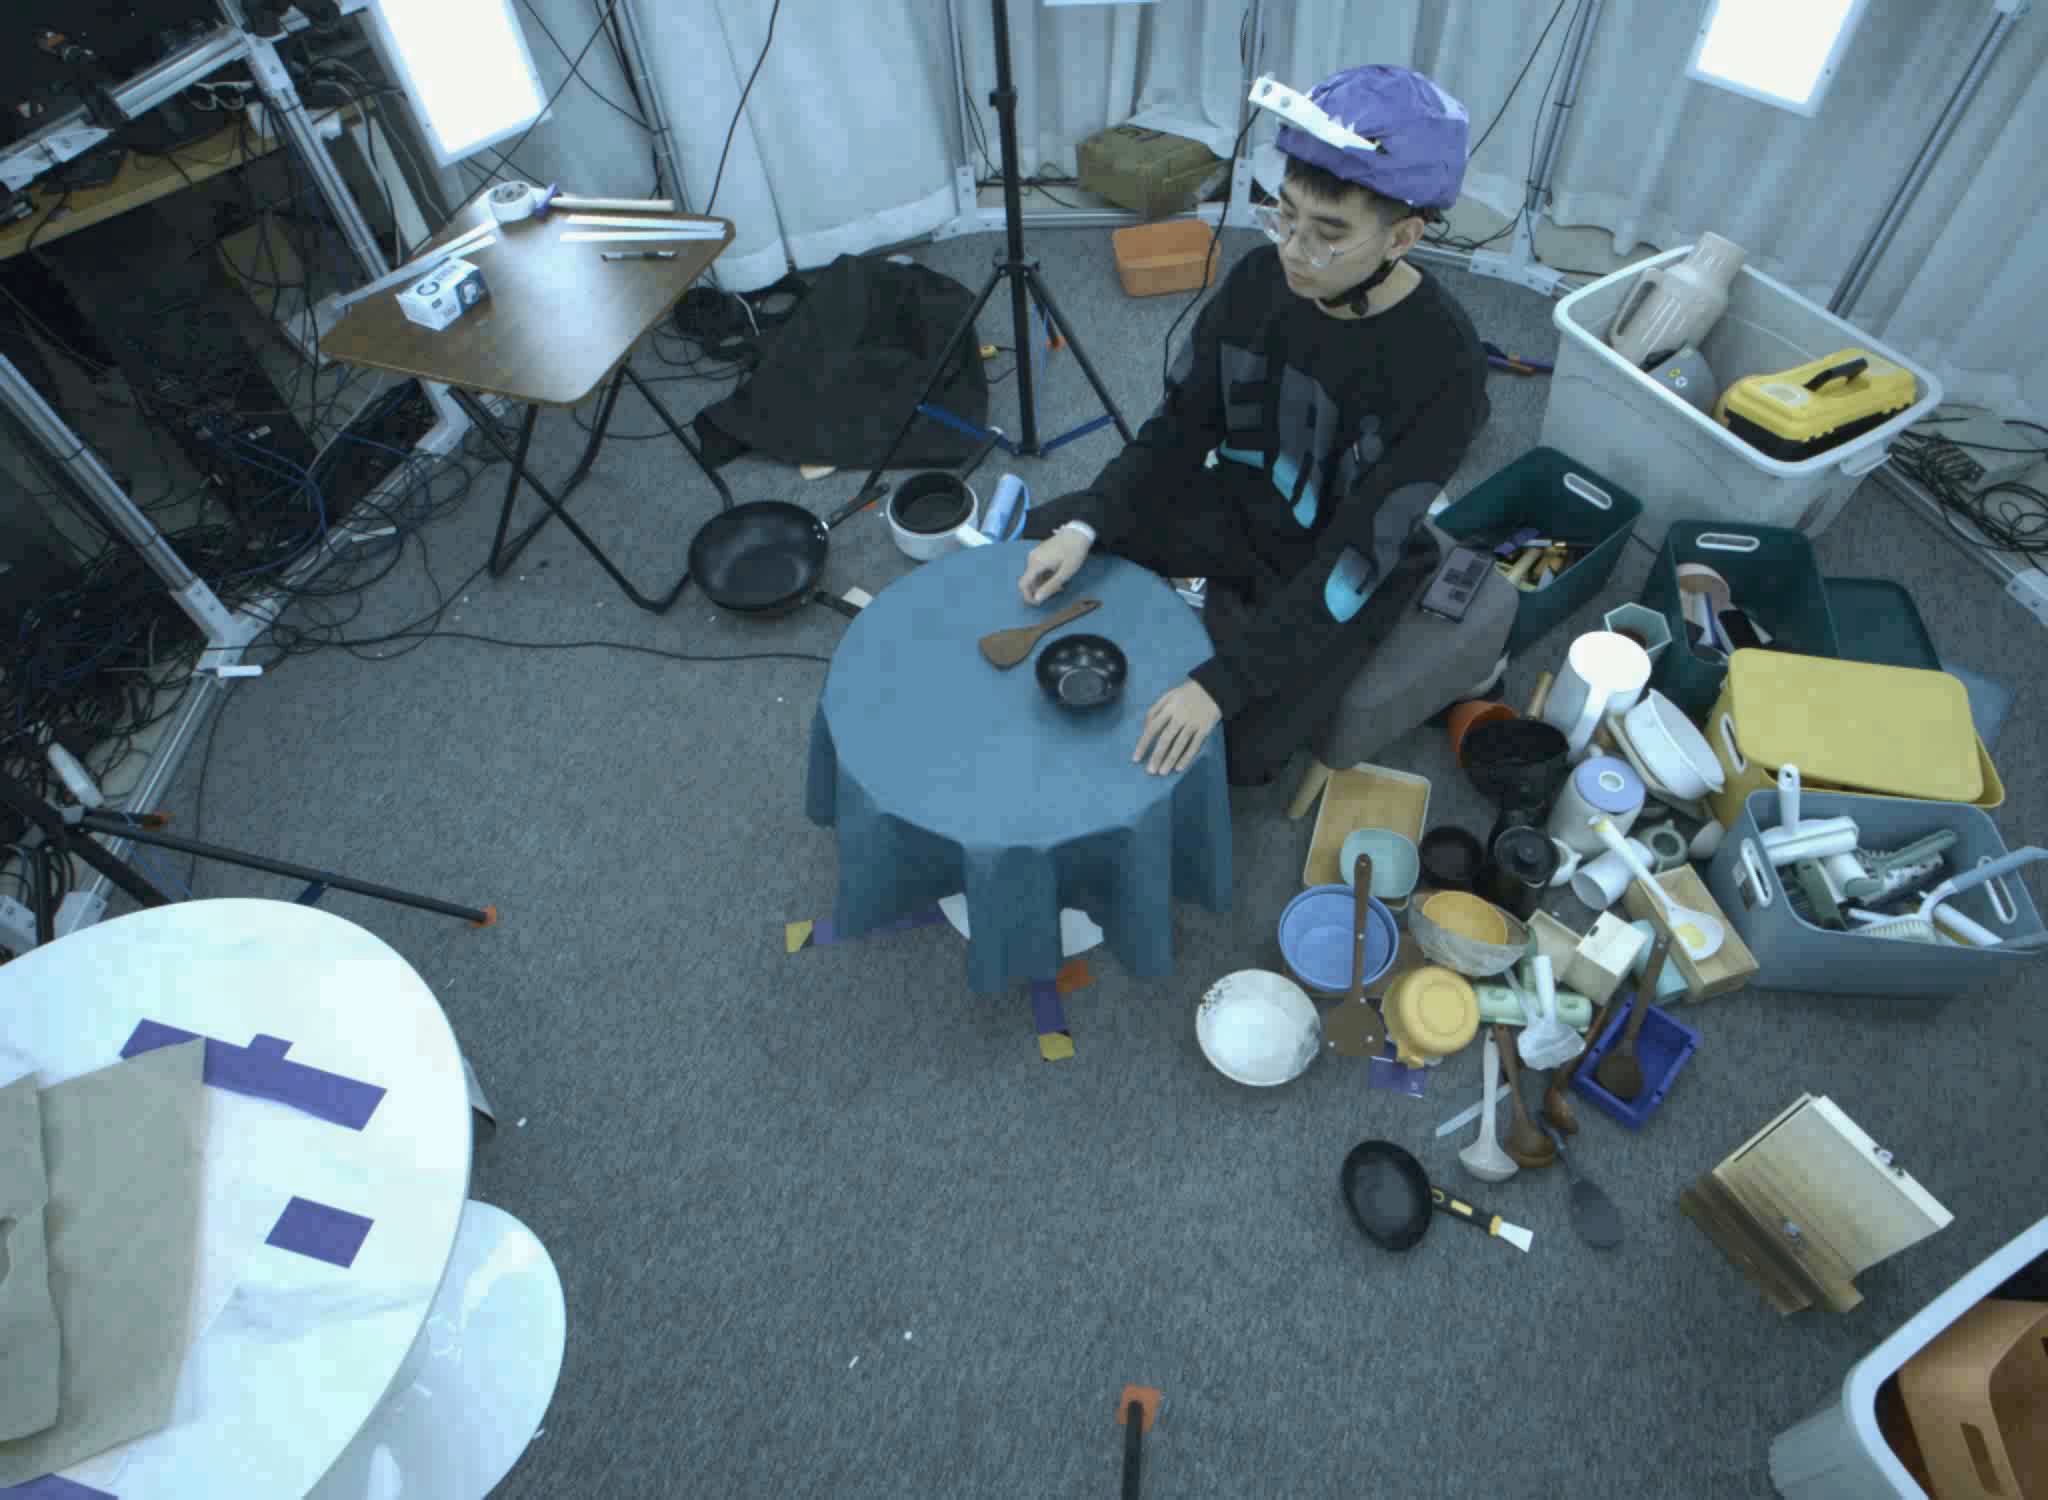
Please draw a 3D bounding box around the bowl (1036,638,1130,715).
[{"bbox_3d":[0.089,-0.101,1.837,0.140,0.050,0.138,-1,52,3],"label":"bowl"}]

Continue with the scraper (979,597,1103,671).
[{"bbox_3d":[0.033,-0.188,1.925,0.213,0.011,0.074,-29,60,-18],"label":"scraper"}]
